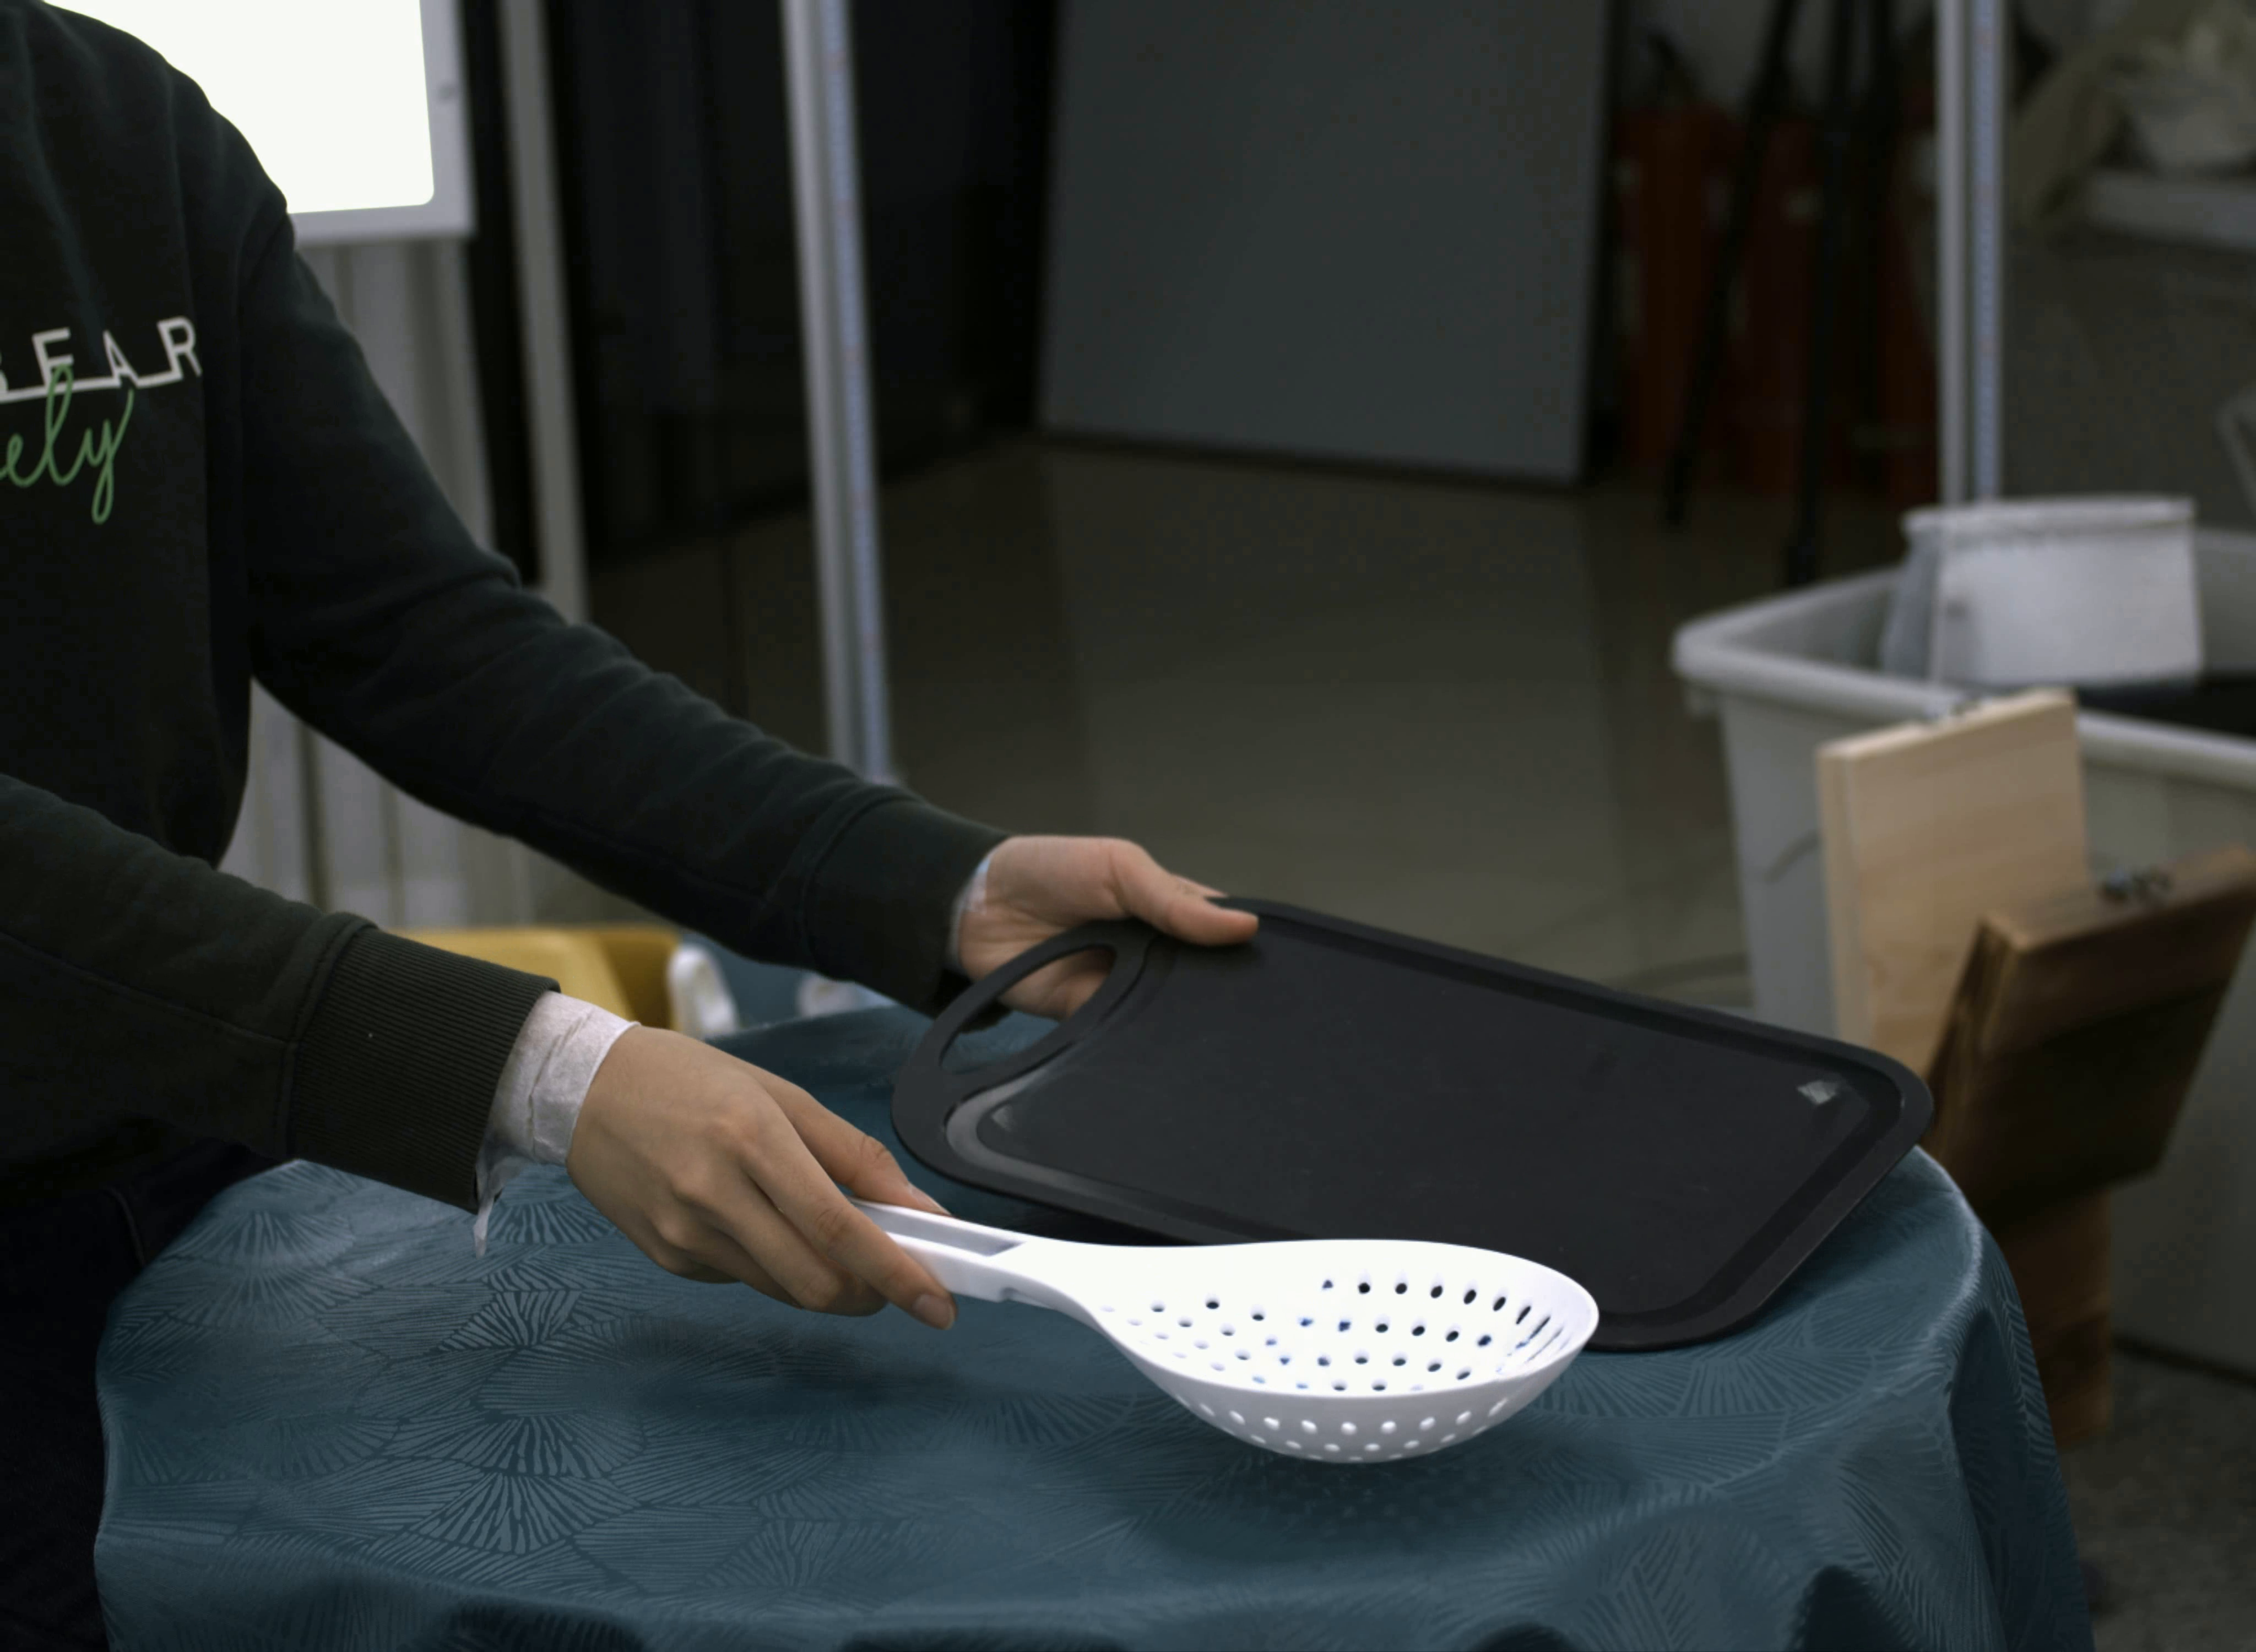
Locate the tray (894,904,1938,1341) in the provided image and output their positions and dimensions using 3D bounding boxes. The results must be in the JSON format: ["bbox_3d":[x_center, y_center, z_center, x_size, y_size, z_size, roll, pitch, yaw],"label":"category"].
[{"bbox_3d":[0.085,0.088,1.732,0.327,0.010,0.208,13,29,30],"label":"tray"}]

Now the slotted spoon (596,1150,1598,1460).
[{"bbox_3d":[-0.021,0.130,1.575,0.352,0.046,0.133,14,19,36],"label":"slotted spoon"}]
